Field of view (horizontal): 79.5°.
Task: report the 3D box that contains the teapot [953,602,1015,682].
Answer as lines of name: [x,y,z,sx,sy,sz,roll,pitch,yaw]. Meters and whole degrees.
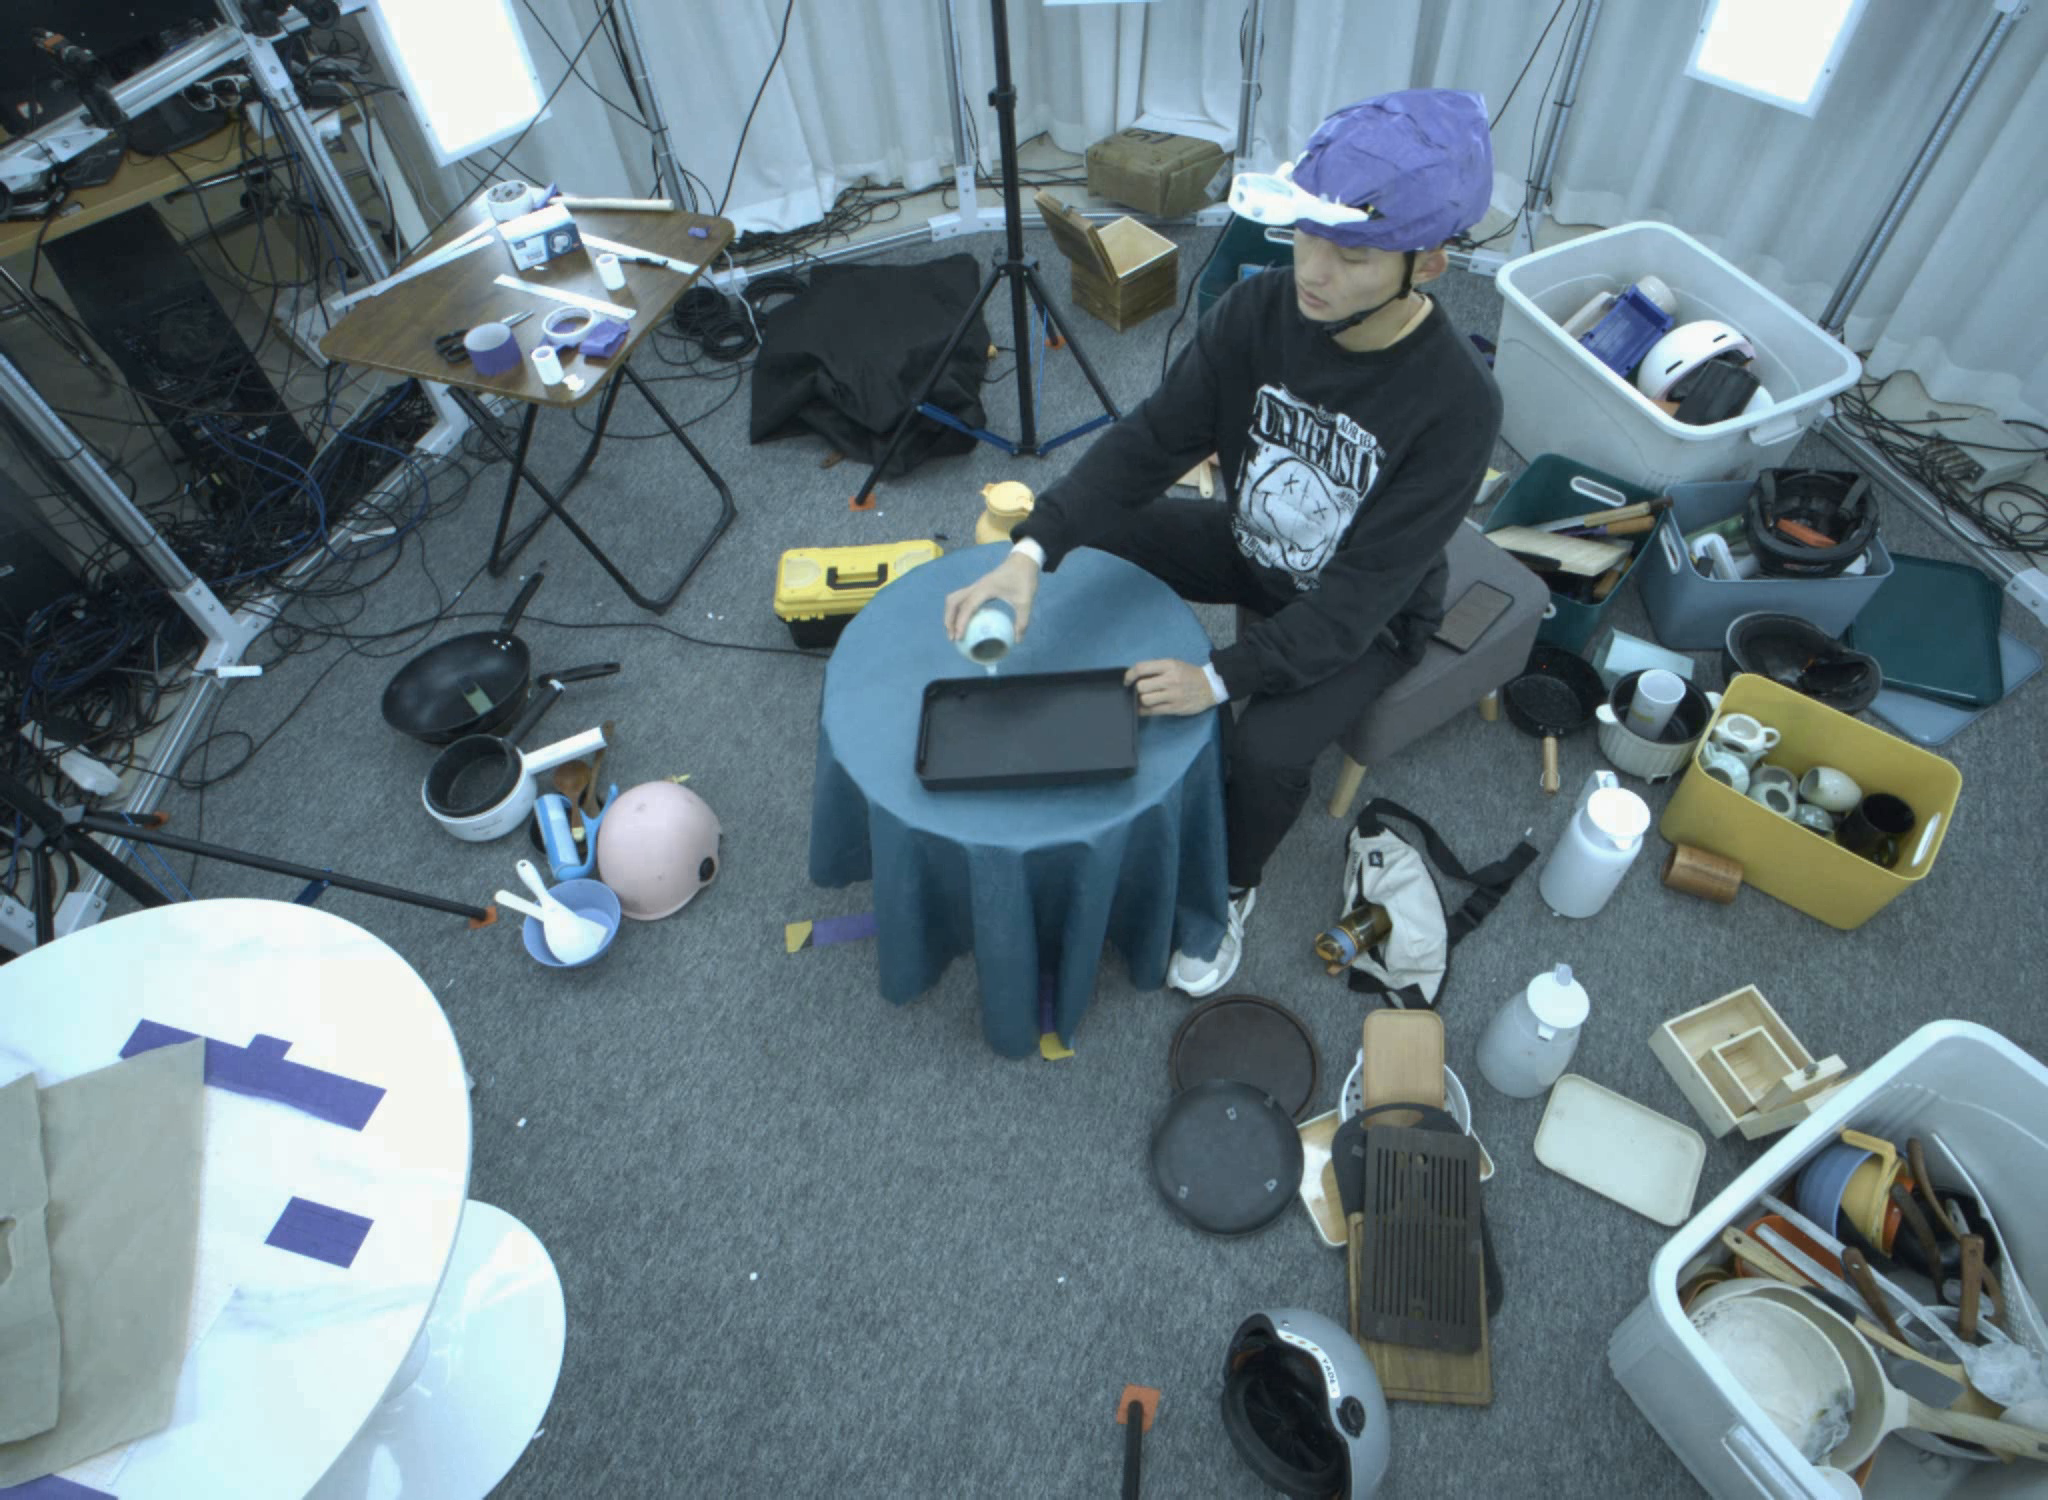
teapot: [-0.058,-0.164,1.751,0.089,0.145,0.073,-13,57,-6]

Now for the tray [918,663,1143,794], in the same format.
tray: [0.011,-0.031,1.763,0.317,0.037,0.182,-5,53,6]
